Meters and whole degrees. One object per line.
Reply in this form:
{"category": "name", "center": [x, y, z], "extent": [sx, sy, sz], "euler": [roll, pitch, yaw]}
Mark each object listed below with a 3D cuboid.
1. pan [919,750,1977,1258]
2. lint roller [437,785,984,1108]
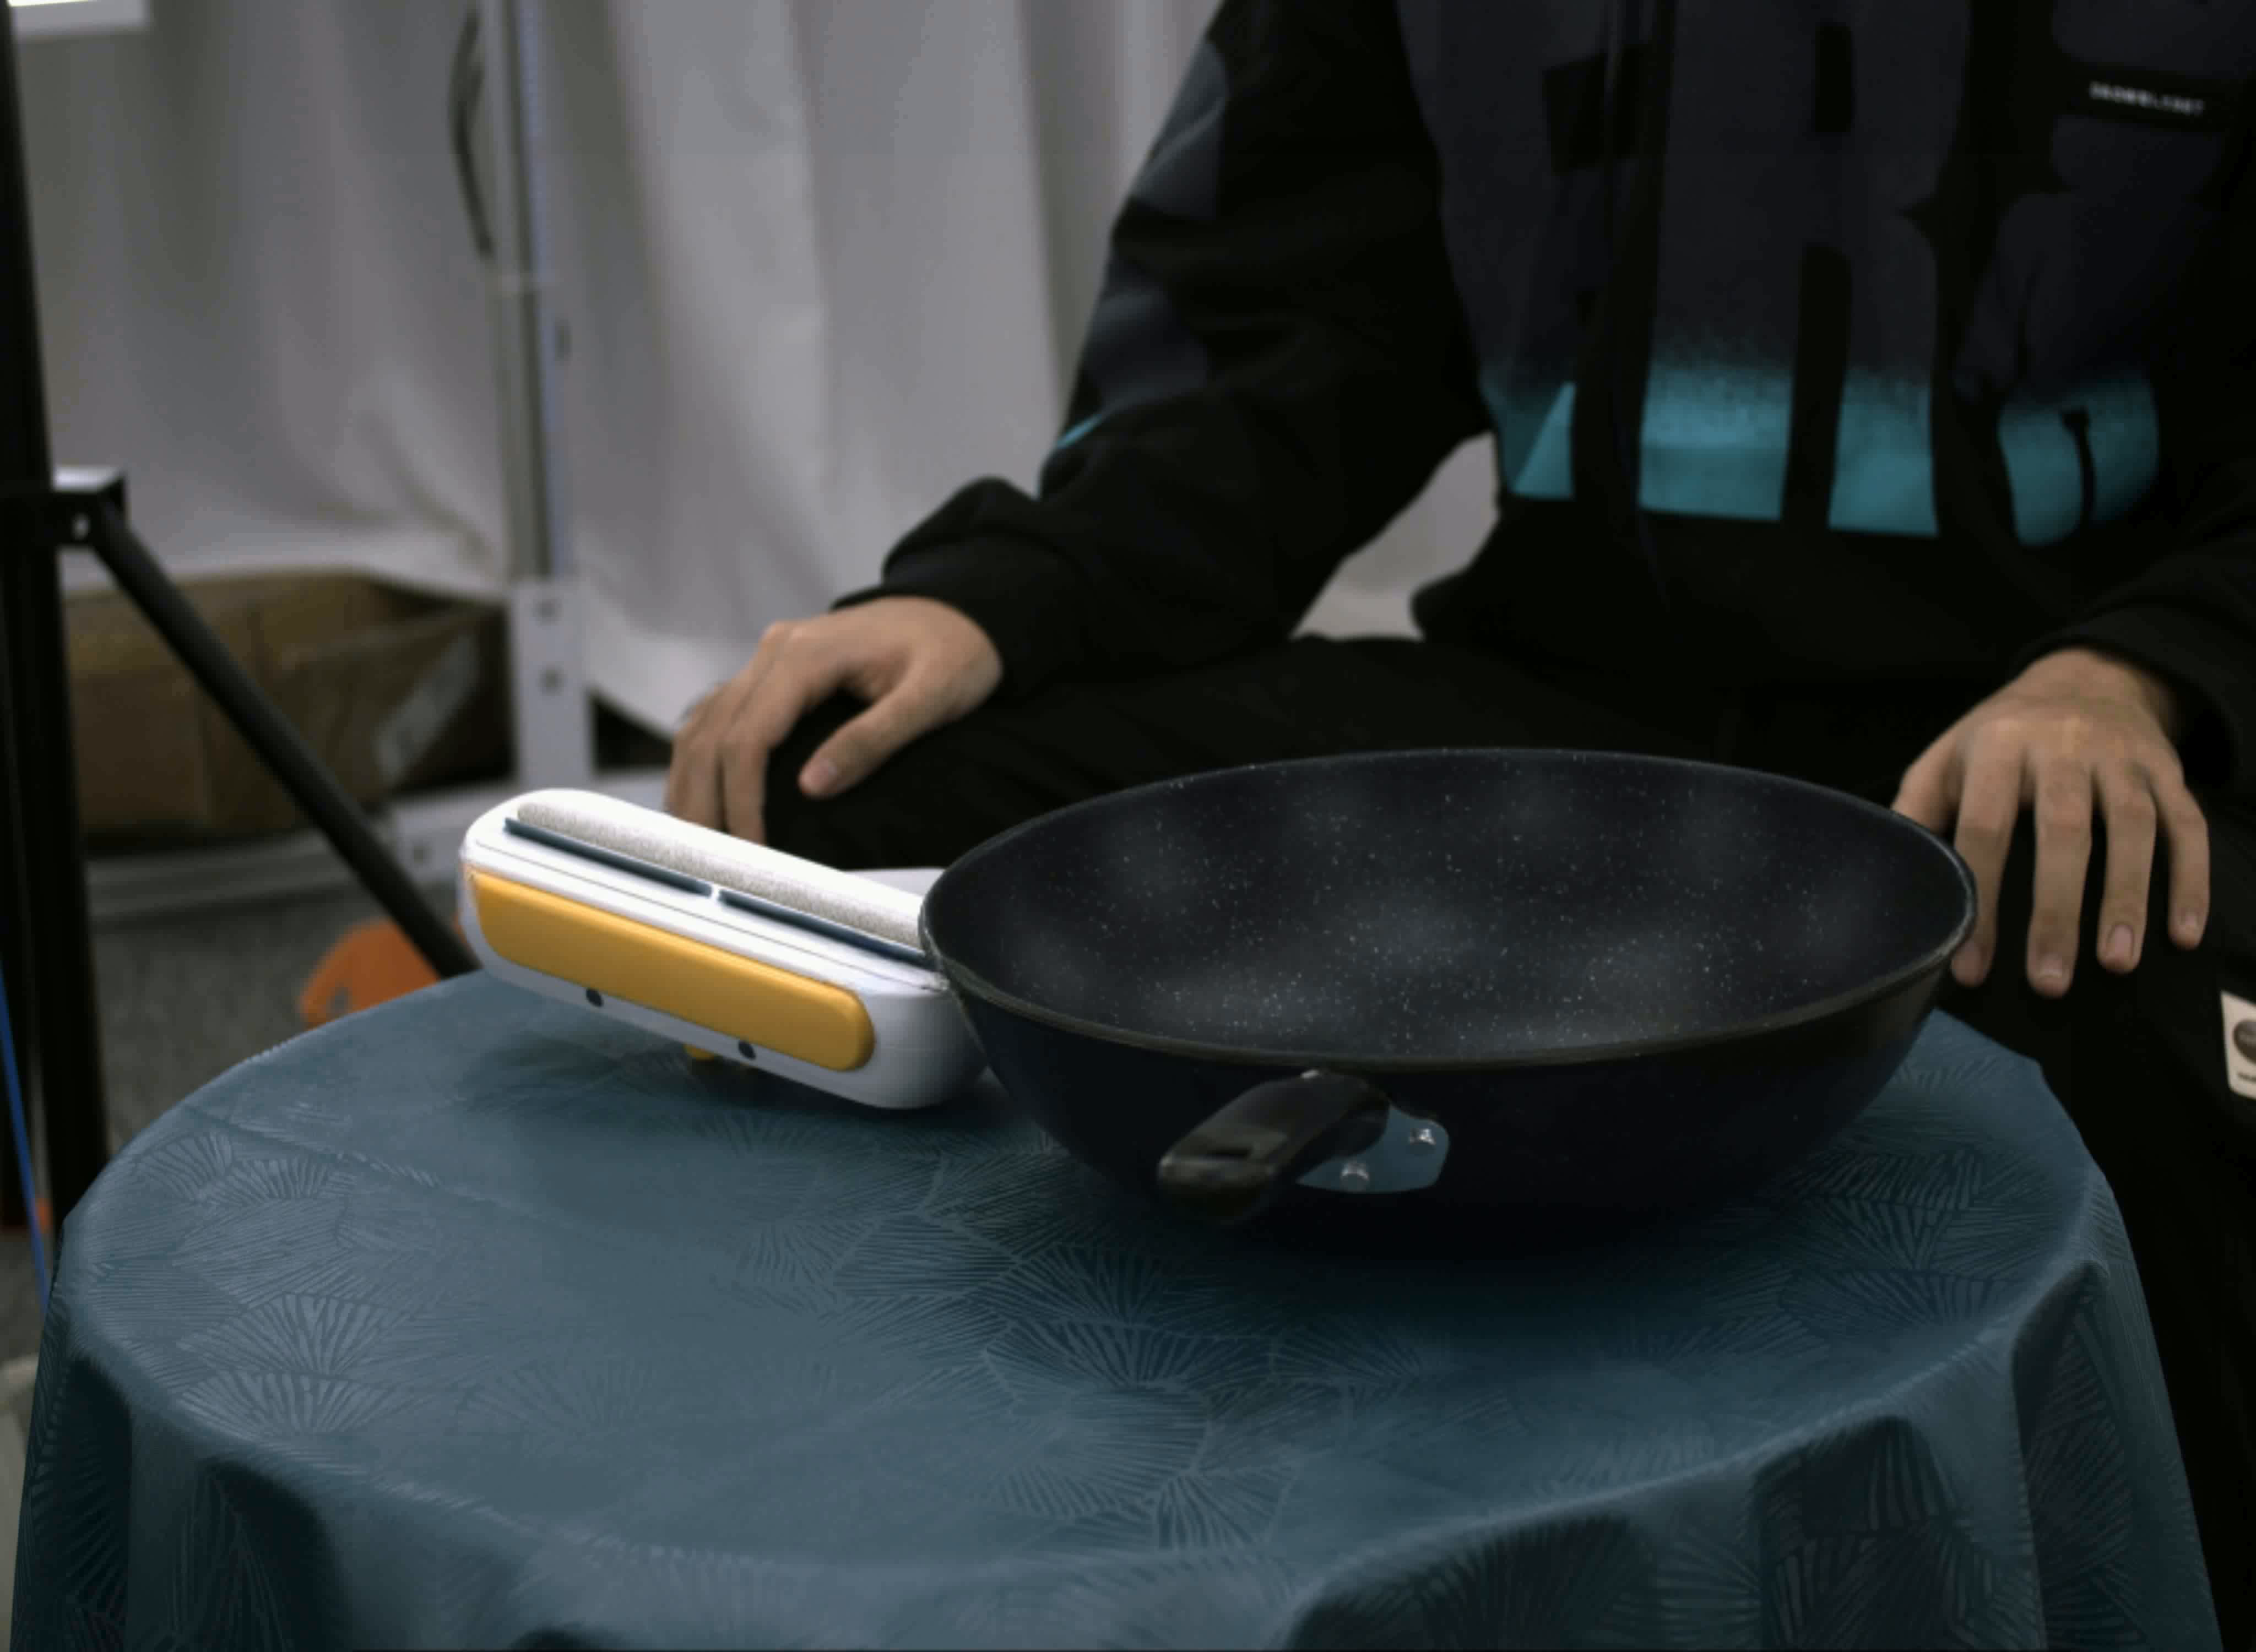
{"category": "pan", "center": [0.075, 0.071, 1.482], "extent": [0.312, 0.111, 0.473], "euler": [-1, 16, 14]}
{"category": "lint roller", "center": [-0.100, 0.030, 1.727], "extent": [0.196, 0.074, 0.188], "euler": [14, 20, 32]}
